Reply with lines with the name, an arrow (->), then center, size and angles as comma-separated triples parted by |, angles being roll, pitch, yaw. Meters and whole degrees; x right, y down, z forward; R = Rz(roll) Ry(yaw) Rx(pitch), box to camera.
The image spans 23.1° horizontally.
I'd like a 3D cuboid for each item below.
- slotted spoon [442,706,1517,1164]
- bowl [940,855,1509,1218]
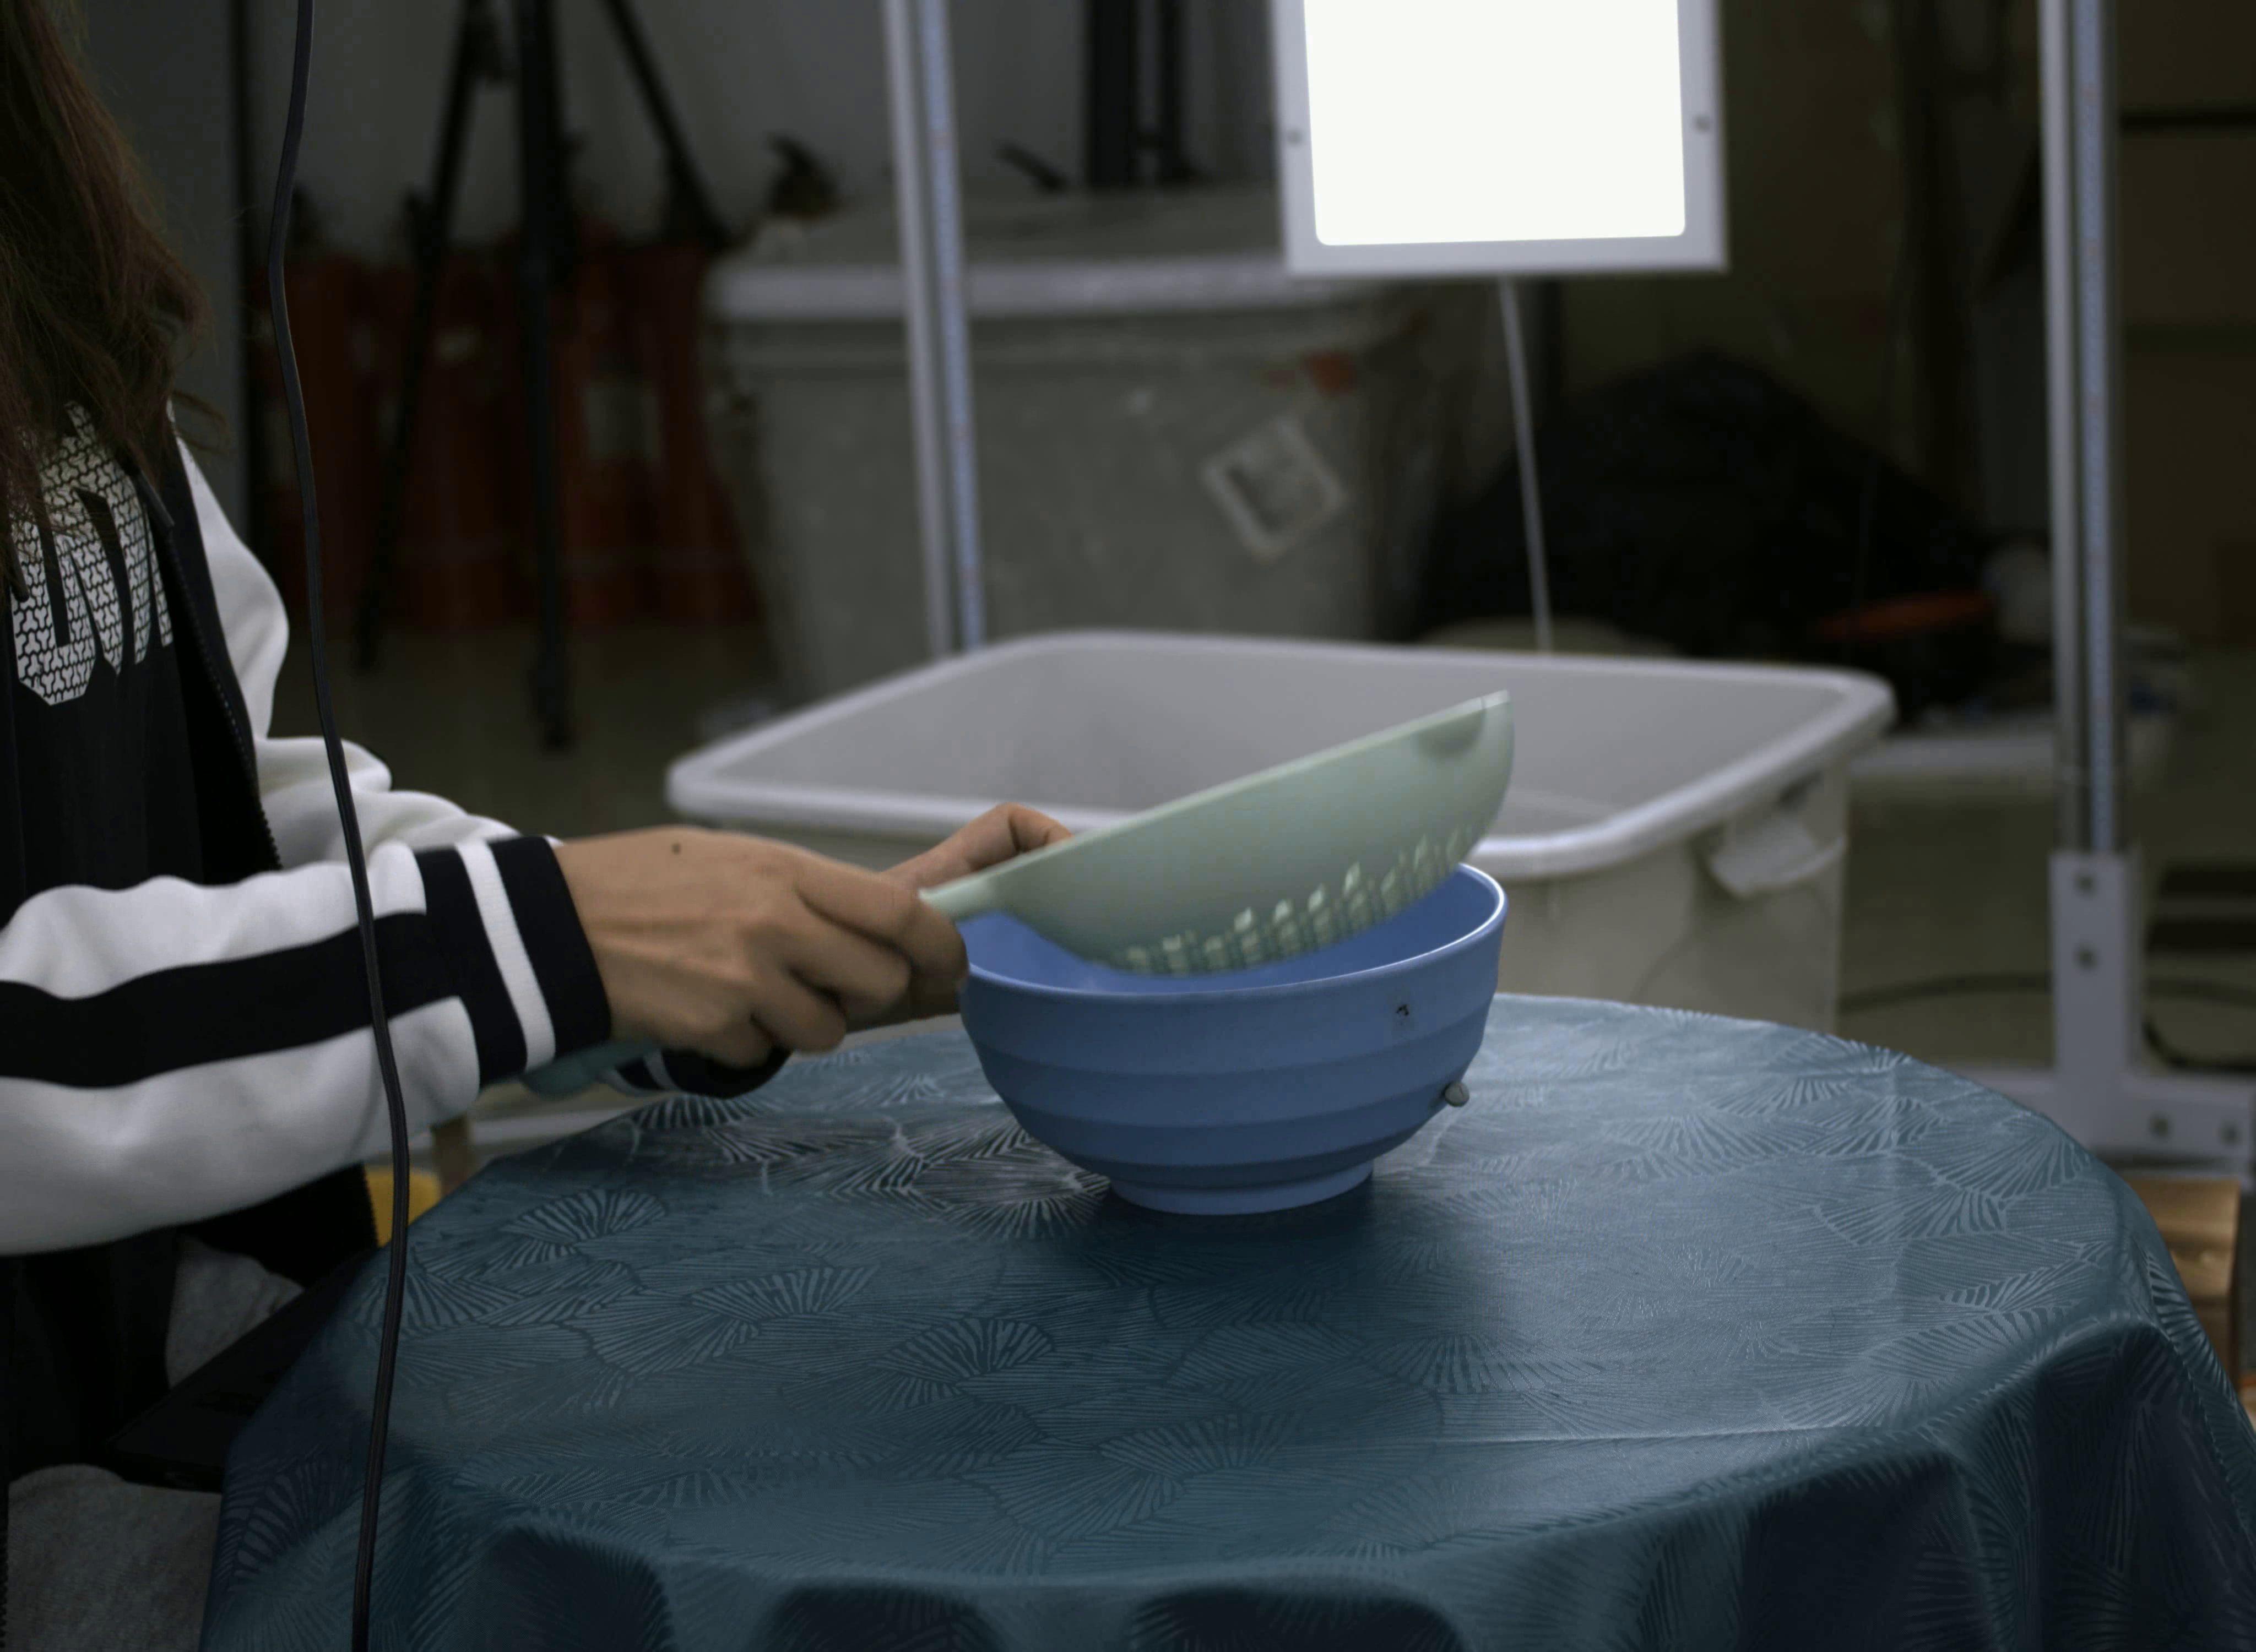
slotted spoon -> -0.047, 0.034, 1.726 | 0.359, 0.075, 0.169 | -11, -1, 3
bowl -> 0.037, 0.076, 1.894 | 0.196, 0.096, 0.196 | -5, 14, 0
